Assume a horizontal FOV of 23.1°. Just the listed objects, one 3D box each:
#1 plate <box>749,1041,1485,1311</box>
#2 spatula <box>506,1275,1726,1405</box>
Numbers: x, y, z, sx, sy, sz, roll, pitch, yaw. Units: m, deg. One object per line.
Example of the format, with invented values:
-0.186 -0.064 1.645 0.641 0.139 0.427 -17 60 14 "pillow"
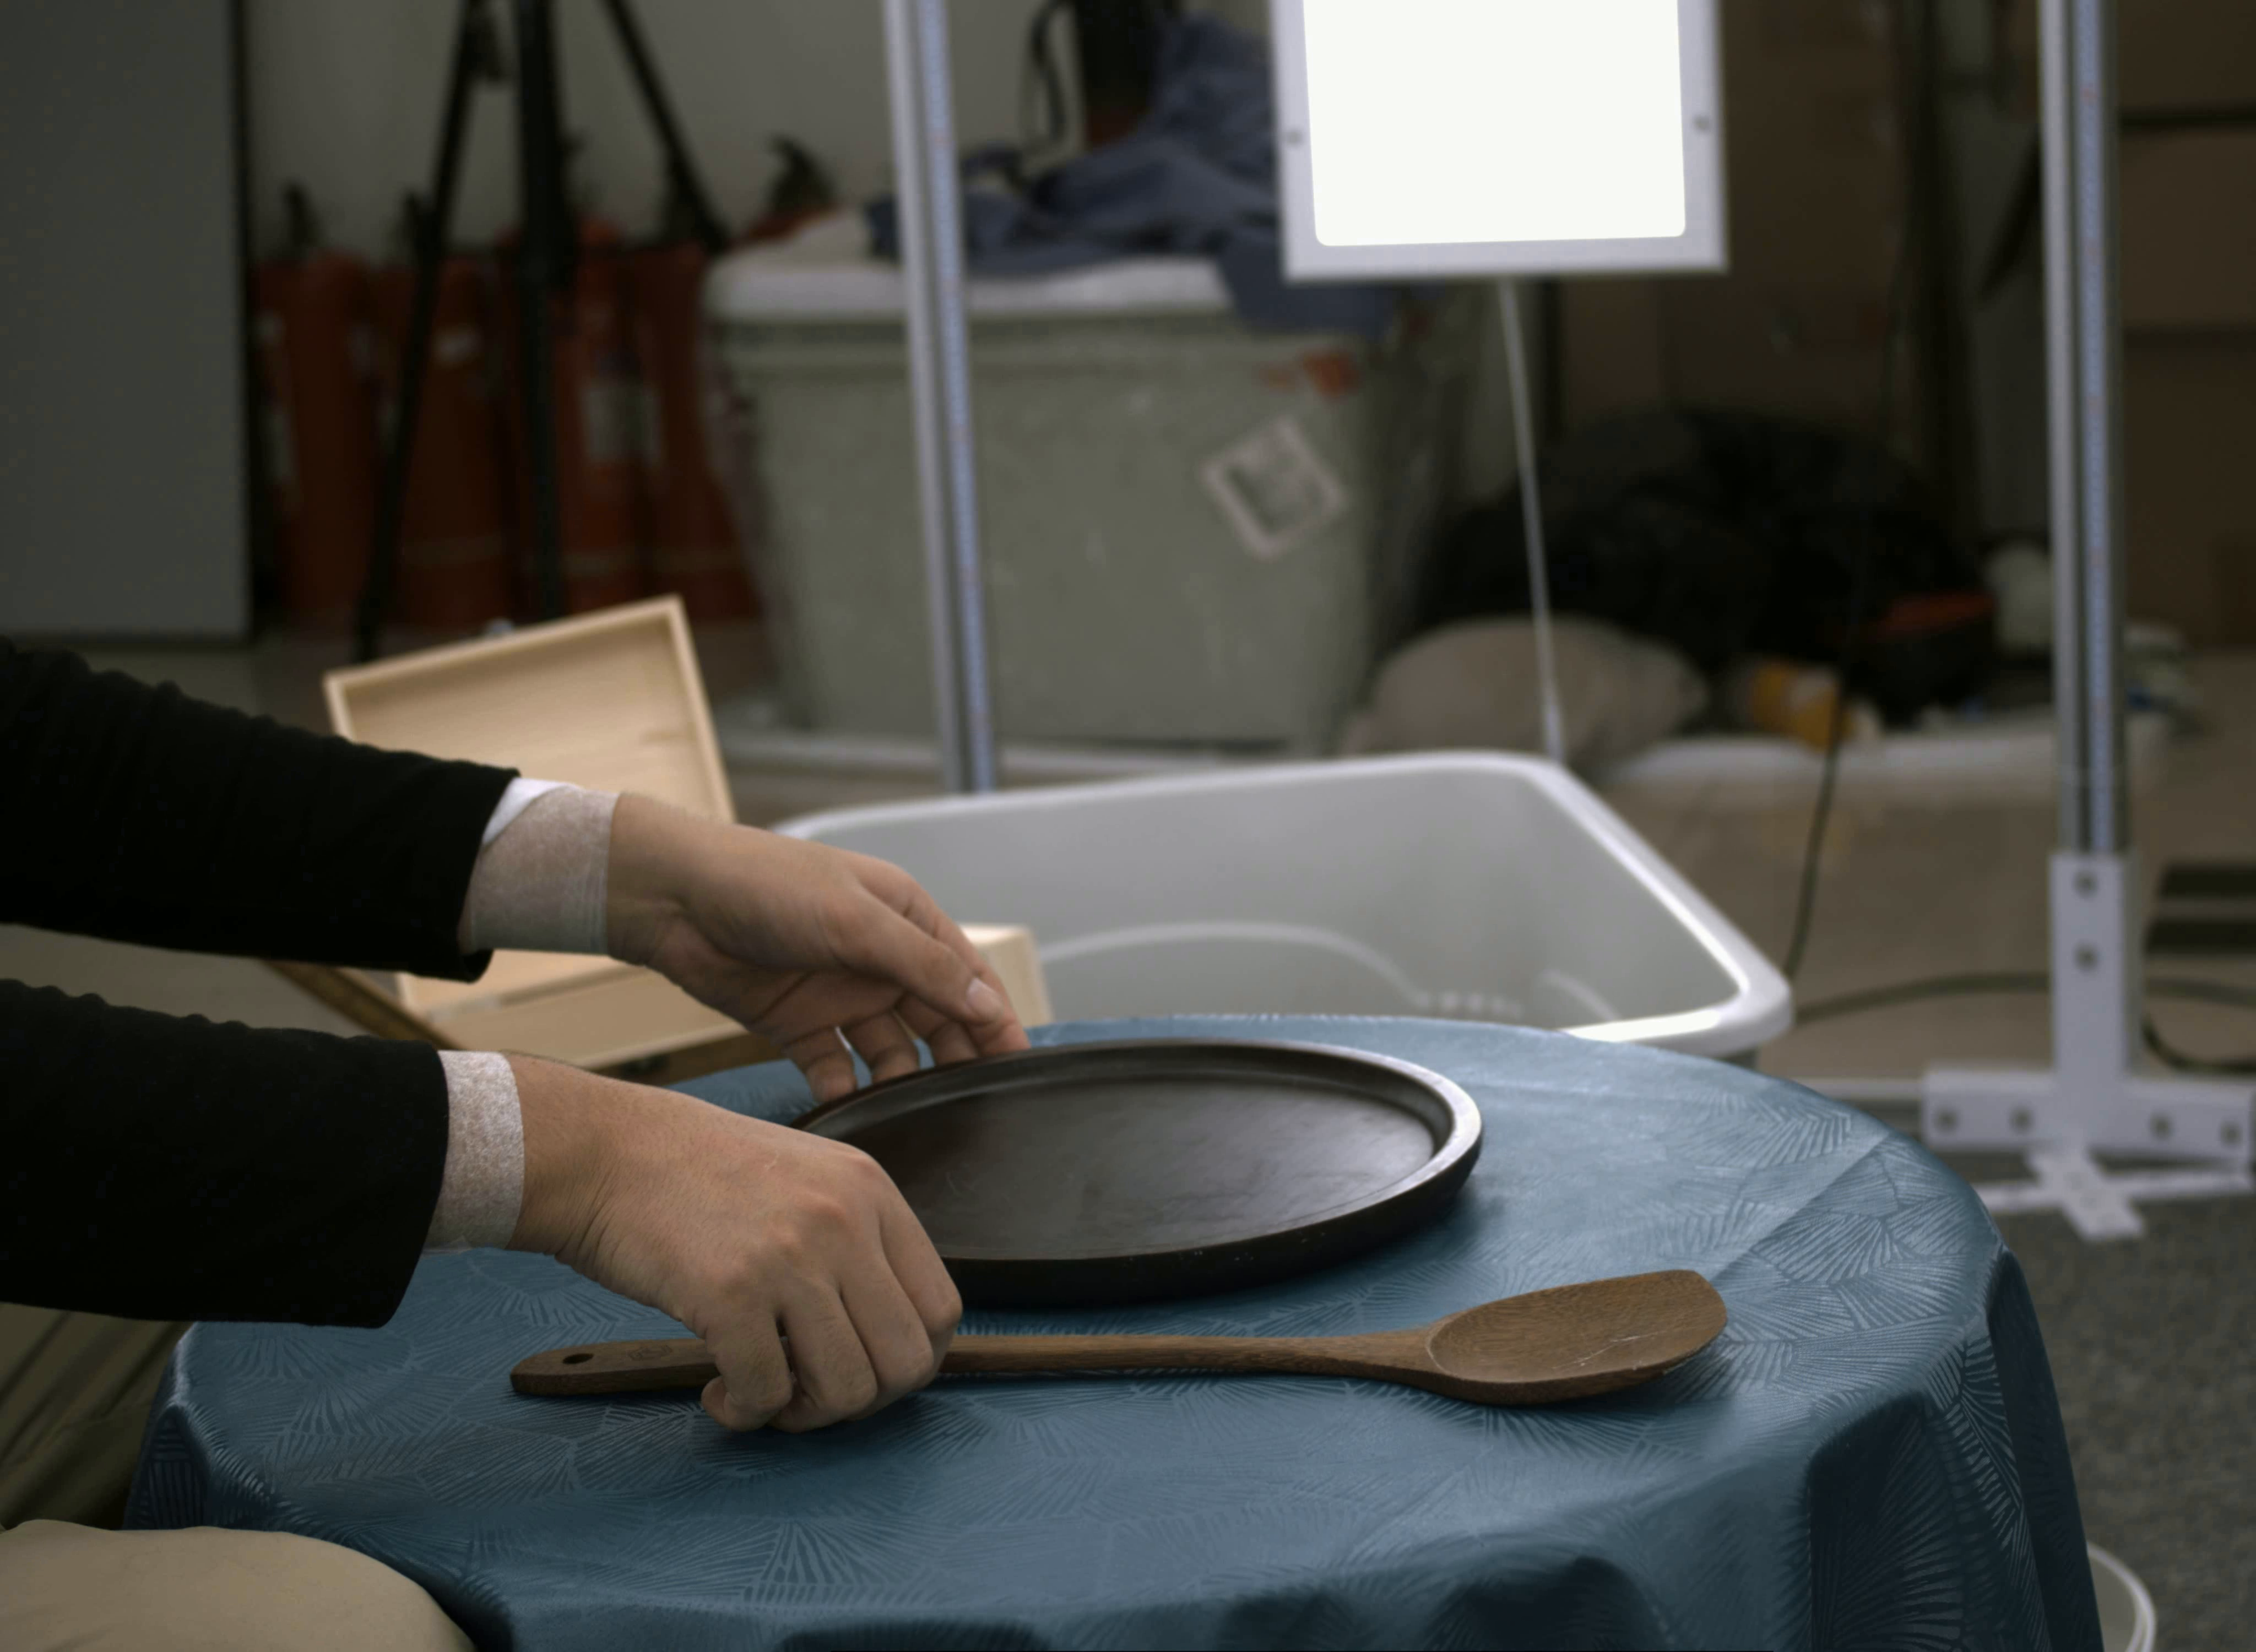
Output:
-0.003 0.117 1.888 0.254 0.029 0.254 -6 15 0 "plate"
-0.007 0.165 1.715 0.388 0.016 0.095 -3 13 10 "spatula"
